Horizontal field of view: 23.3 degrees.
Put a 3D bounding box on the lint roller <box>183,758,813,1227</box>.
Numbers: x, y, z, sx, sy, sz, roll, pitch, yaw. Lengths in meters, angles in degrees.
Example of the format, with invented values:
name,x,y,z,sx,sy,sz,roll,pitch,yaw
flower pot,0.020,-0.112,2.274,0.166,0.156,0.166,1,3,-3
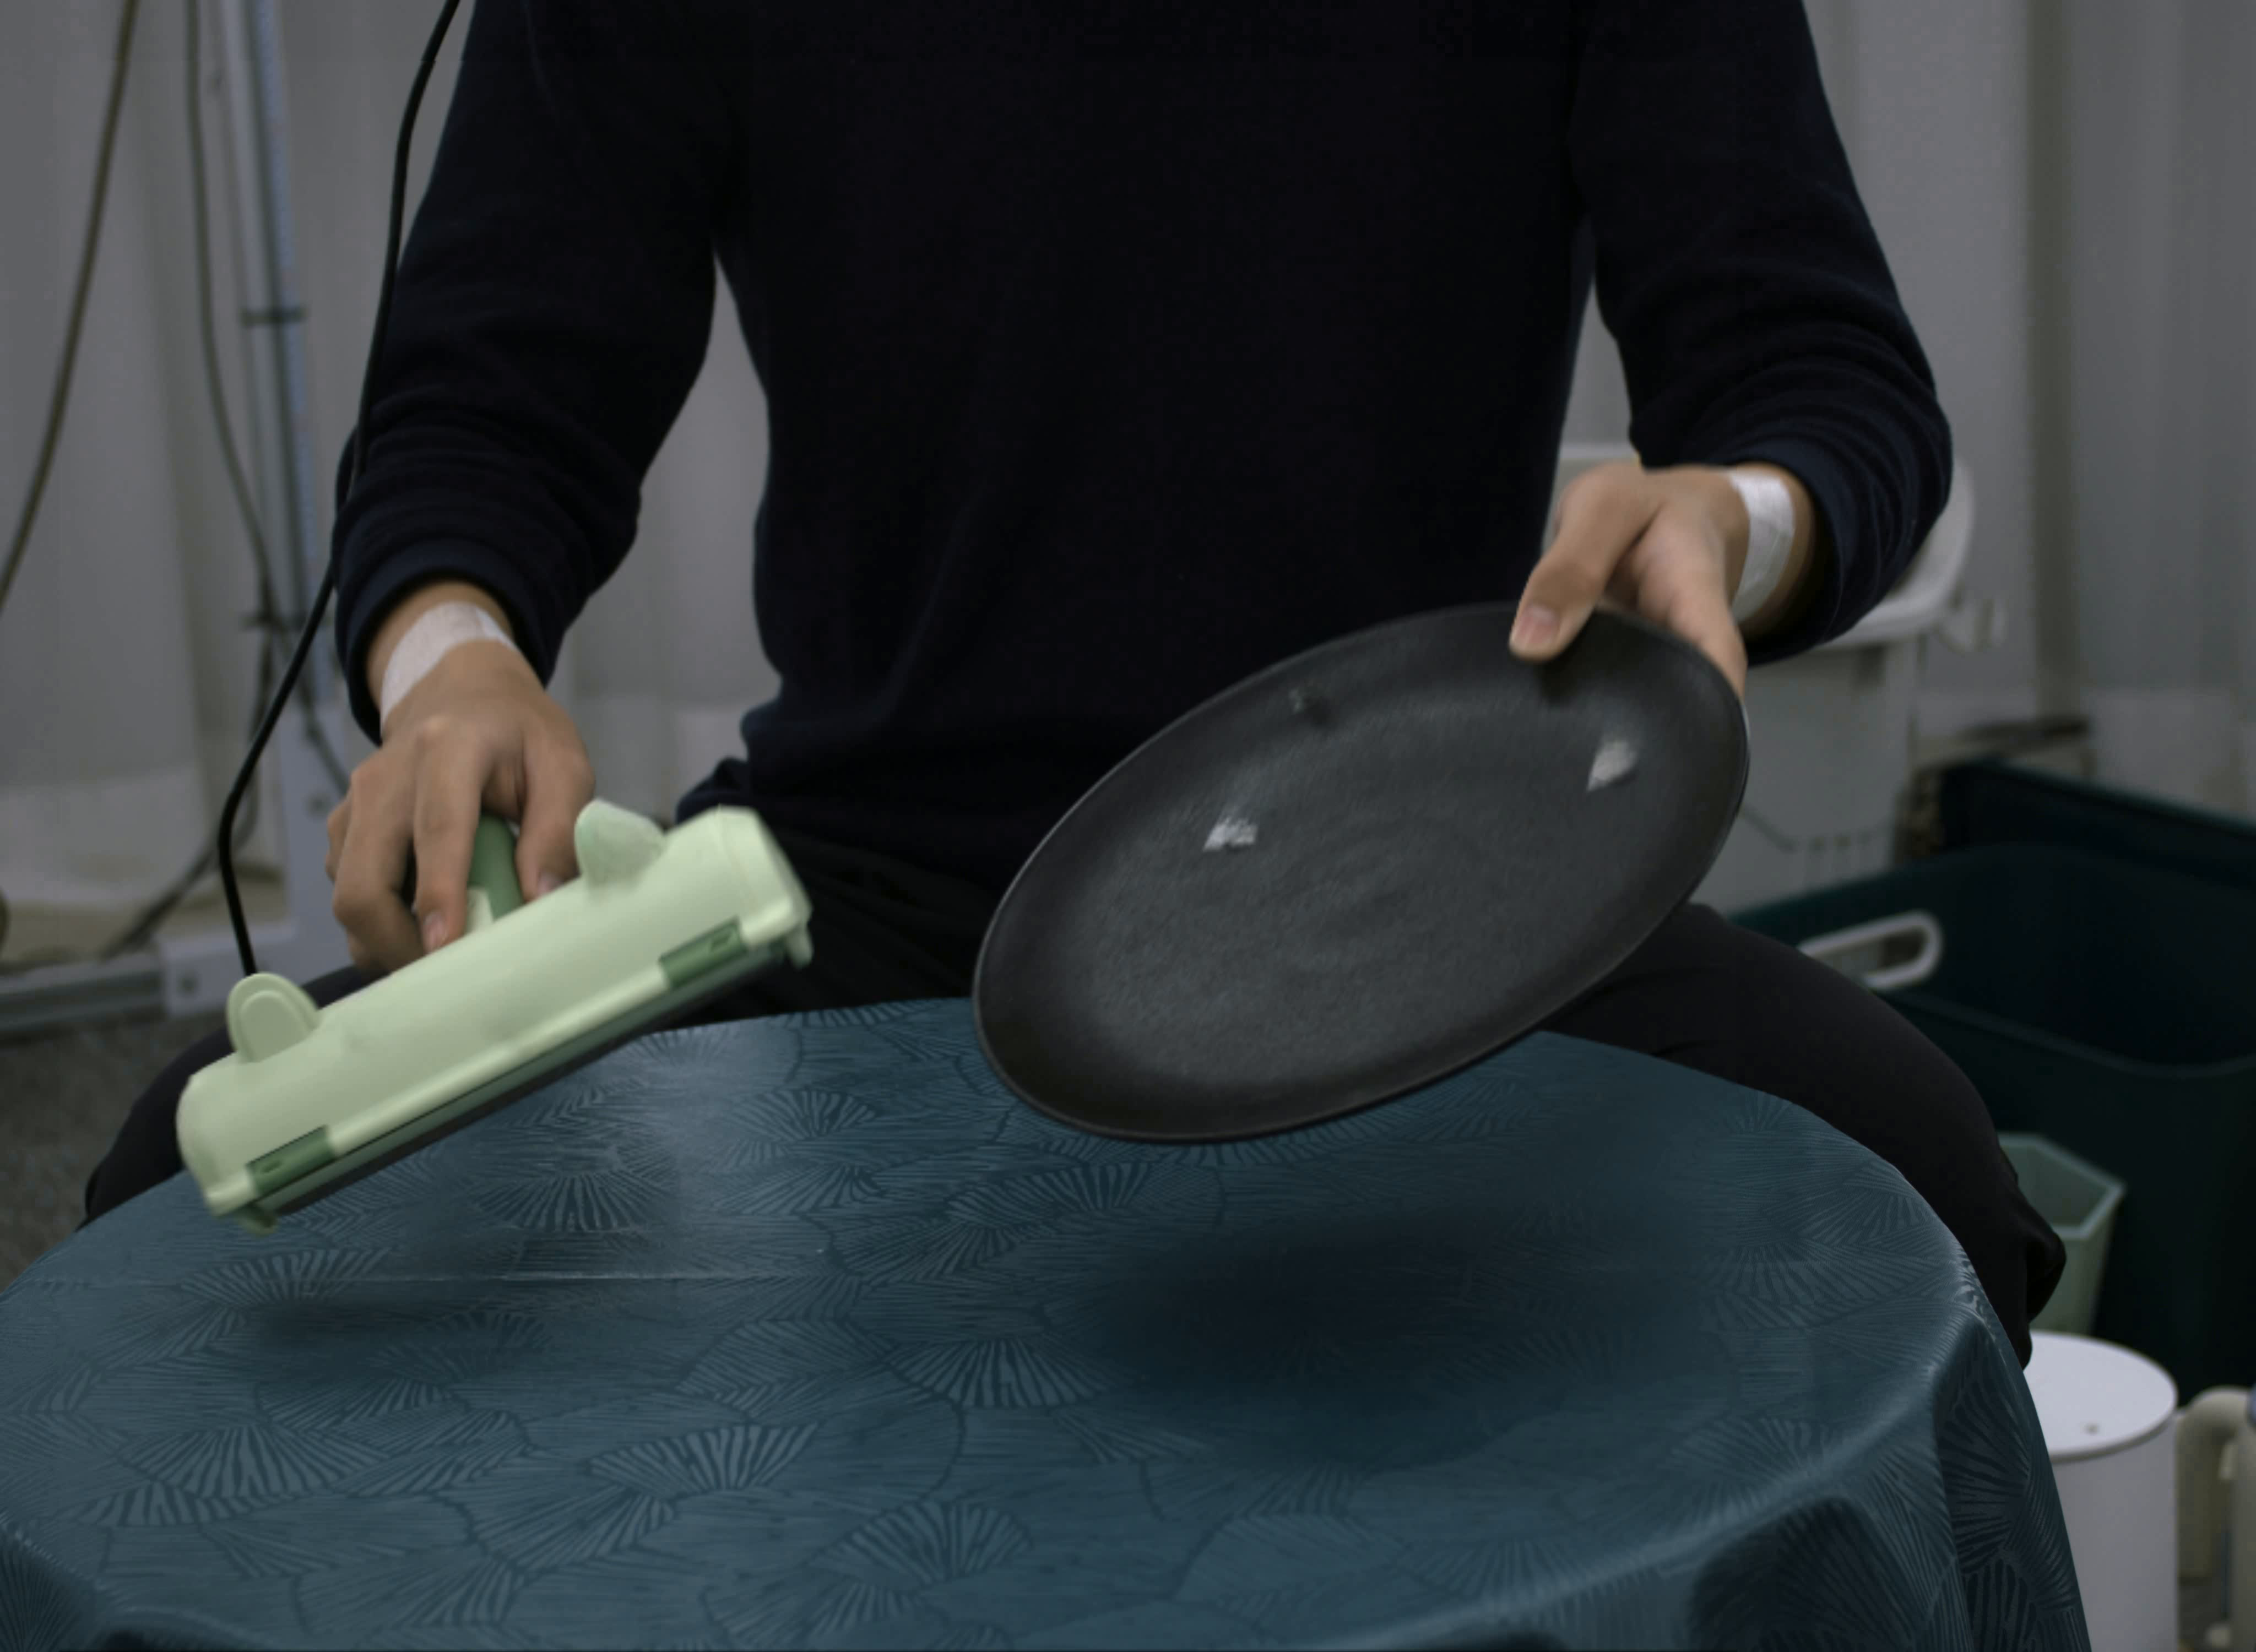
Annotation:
name,x,y,z,sx,sy,sz,roll,pitch,yaw
lint roller,-0.207,0.017,1.675,0.198,0.081,0.186,-28,41,0

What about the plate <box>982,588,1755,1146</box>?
name,x,y,z,sx,sy,sz,roll,pitch,yaw
plate,0.072,0.014,1.598,0.244,0.023,0.248,-20,31,13
